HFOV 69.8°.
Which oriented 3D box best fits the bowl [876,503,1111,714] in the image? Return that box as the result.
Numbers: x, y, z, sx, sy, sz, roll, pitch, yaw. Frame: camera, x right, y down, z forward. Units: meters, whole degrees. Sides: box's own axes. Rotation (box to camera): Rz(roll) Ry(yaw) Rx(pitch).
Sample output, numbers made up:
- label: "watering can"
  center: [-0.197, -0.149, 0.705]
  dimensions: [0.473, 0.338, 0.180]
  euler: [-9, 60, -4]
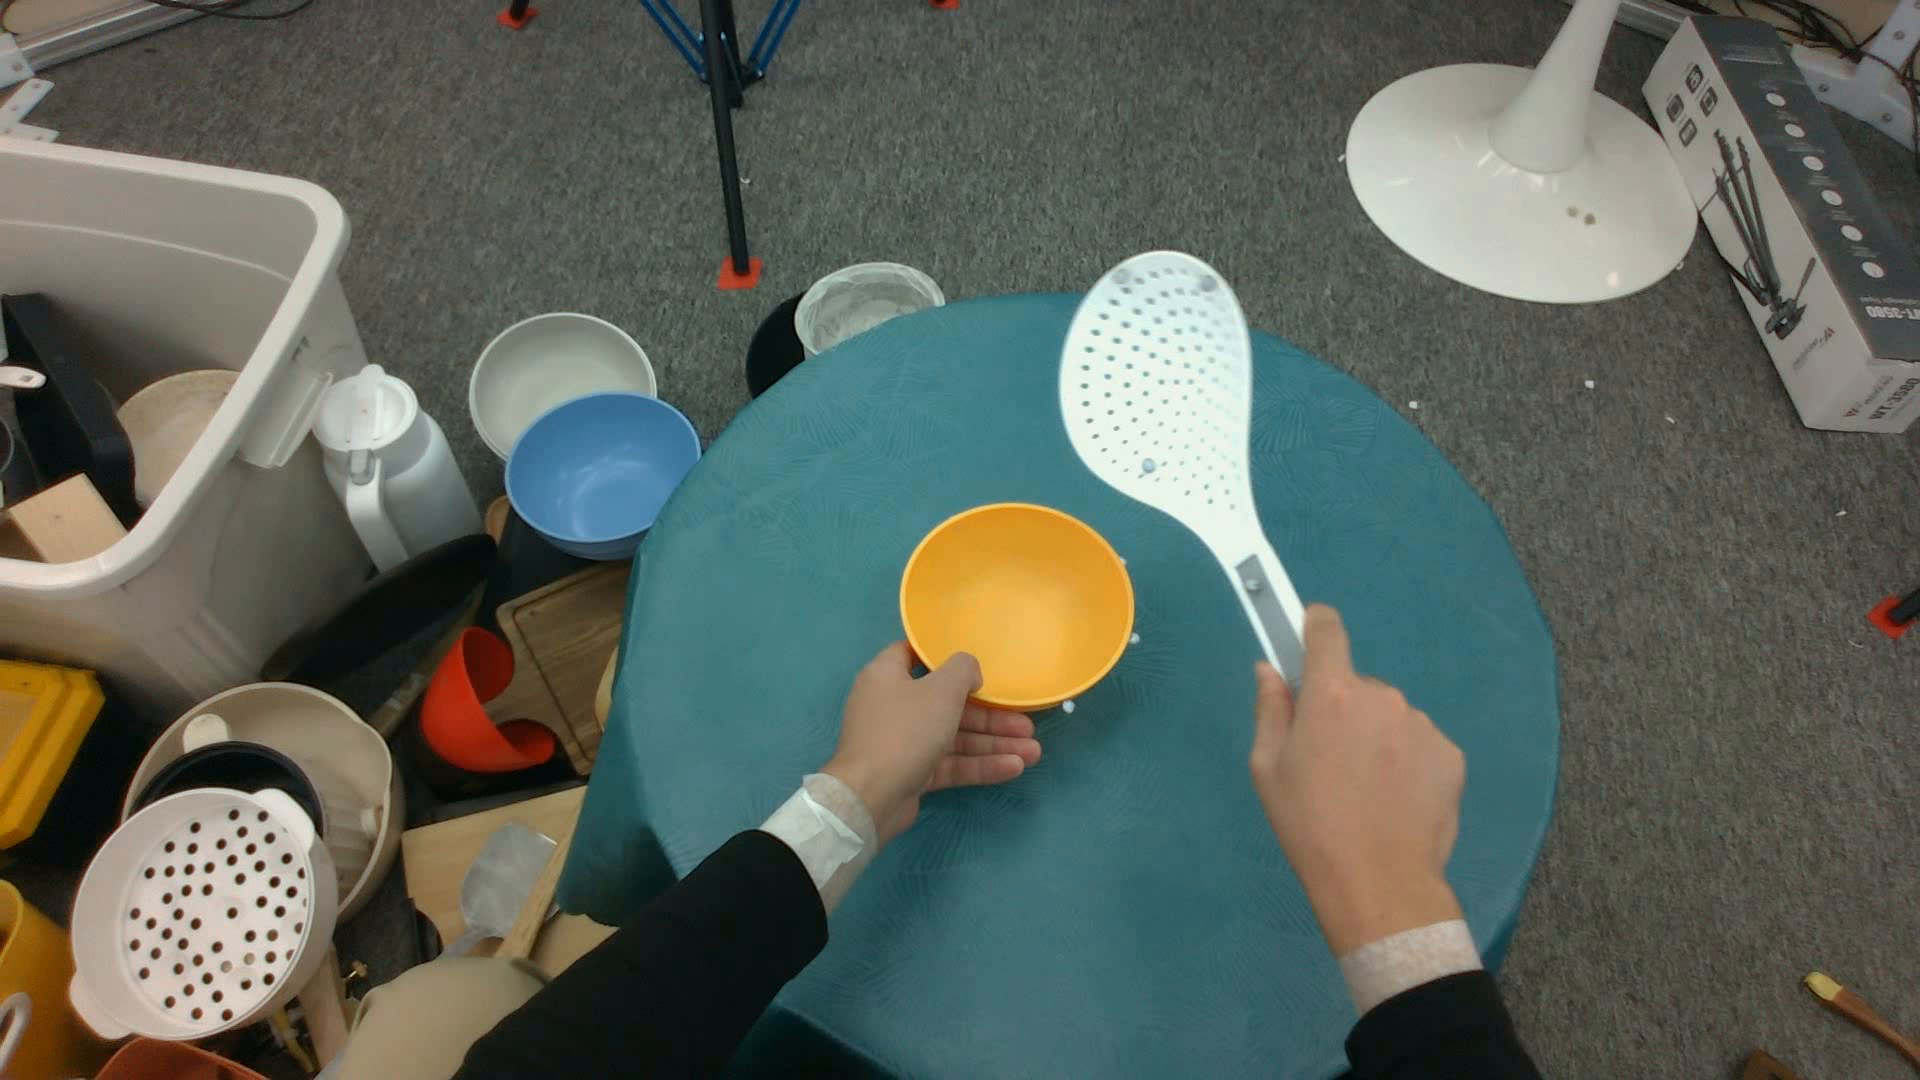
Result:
- label: "bowl"
  center: [0.020, 0.052, 0.865]
  dimensions: [0.145, 0.060, 0.146]
  euler: [0, 58, 0]

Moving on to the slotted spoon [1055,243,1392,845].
- label: "slotted spoon"
  center: [0.144, -0.006, 0.735]
  dimensions: [0.046, 0.135, 0.351]
  euler: [12, 51, -42]
